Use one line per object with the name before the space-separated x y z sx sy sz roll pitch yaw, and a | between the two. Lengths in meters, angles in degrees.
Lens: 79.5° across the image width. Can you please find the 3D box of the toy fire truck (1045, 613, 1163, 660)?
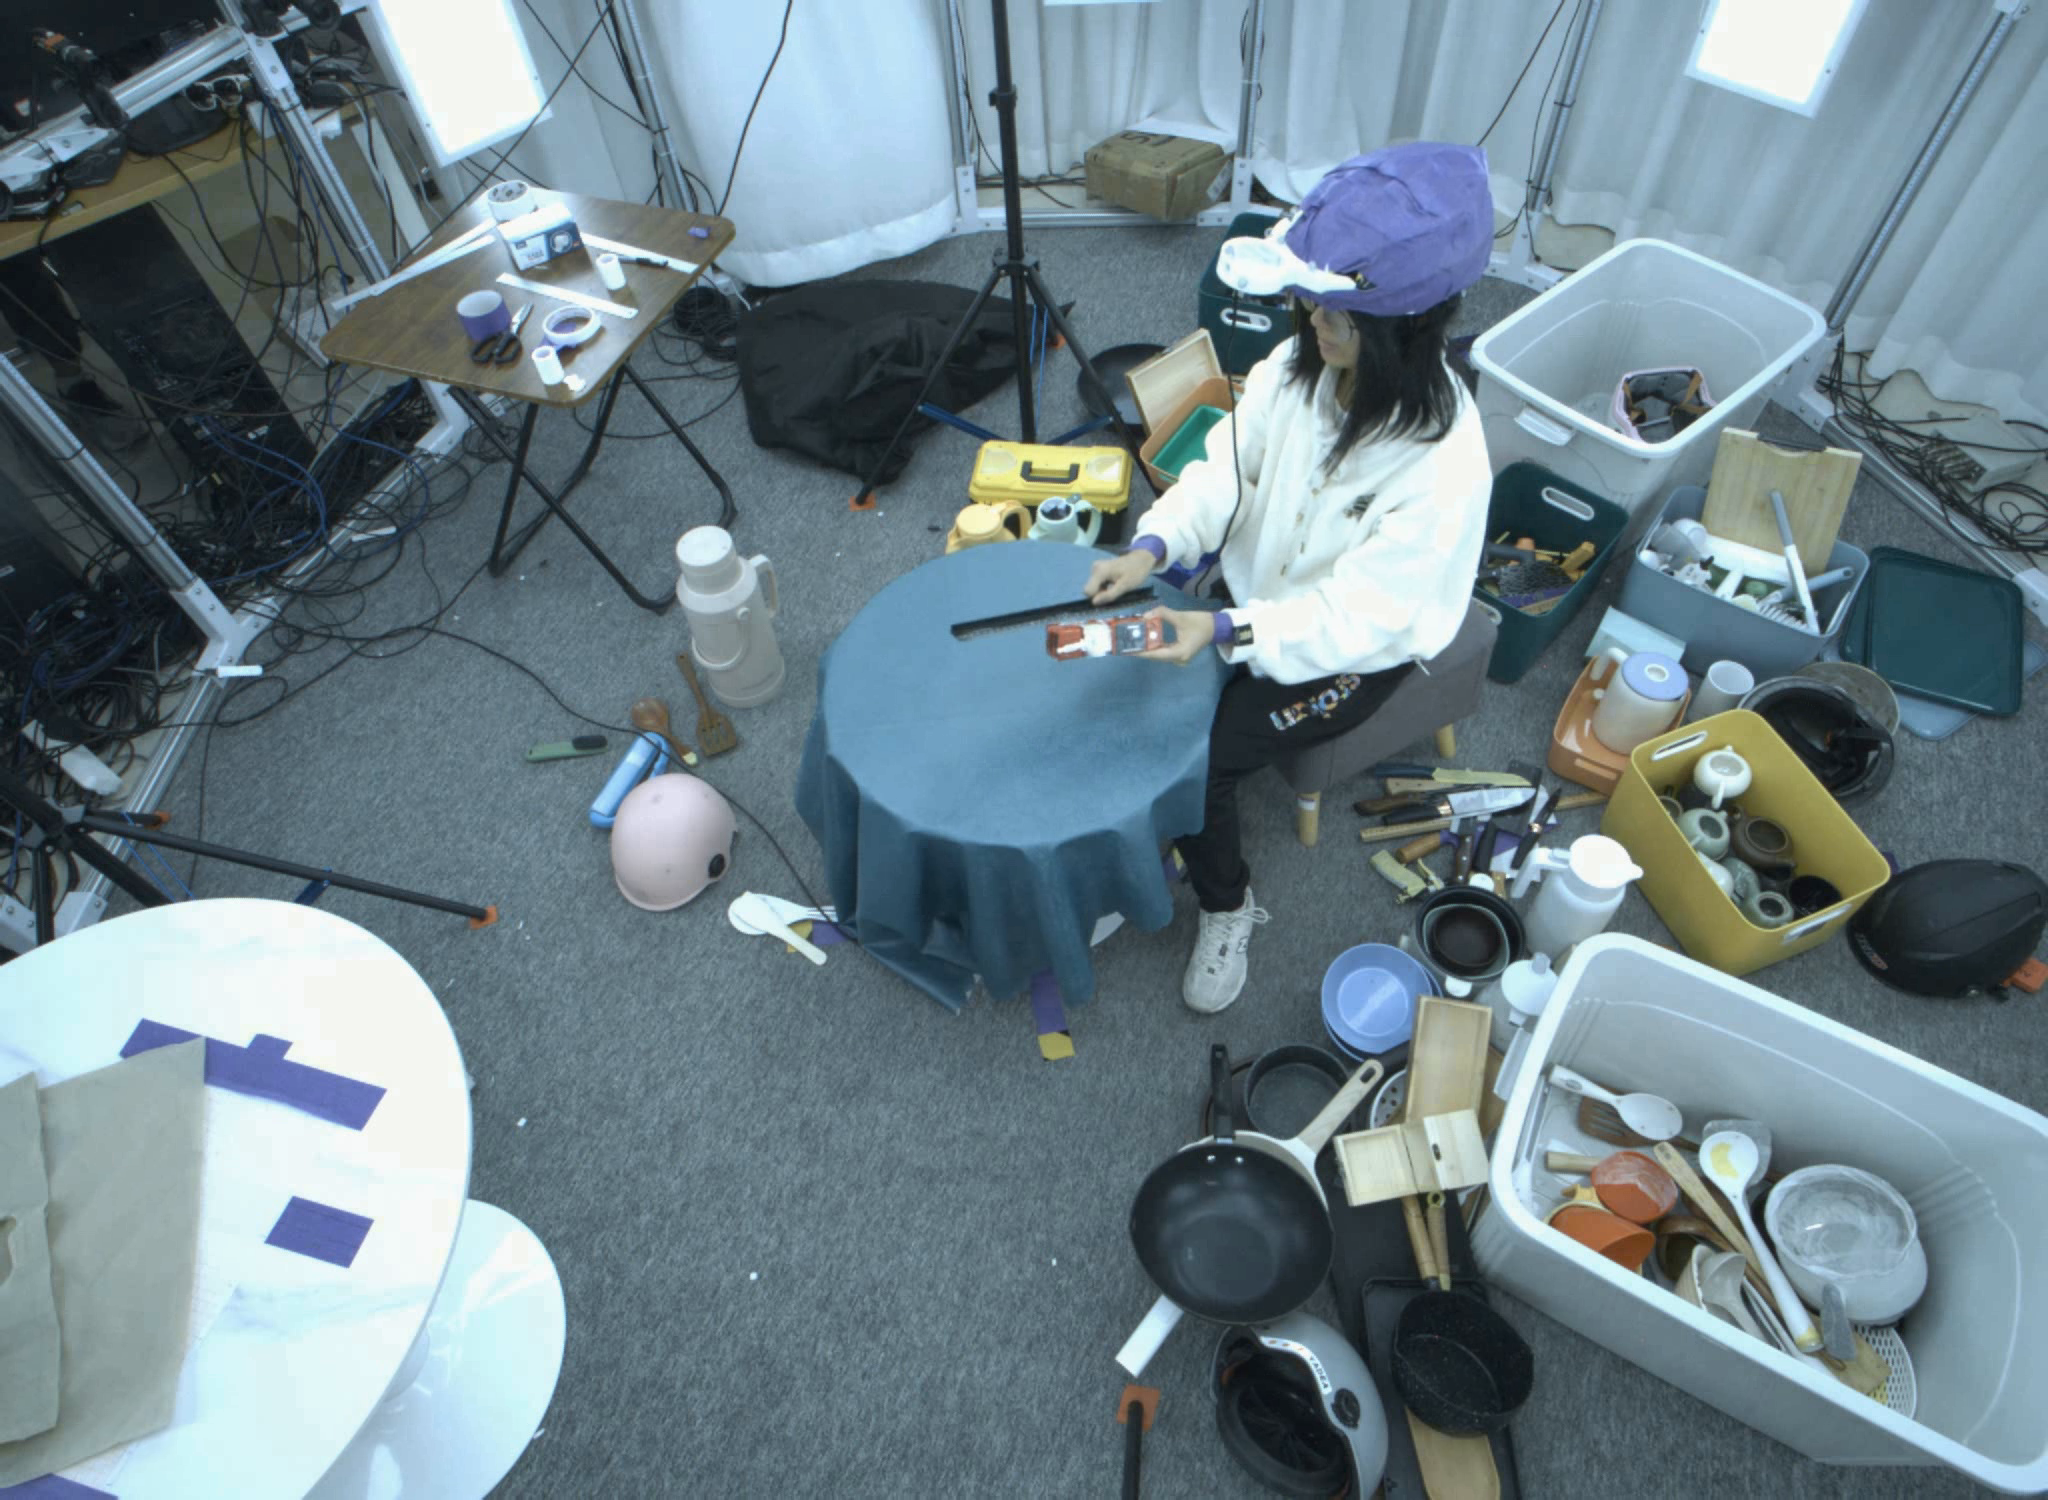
toy fire truck | 0.112 -0.157 1.710 0.170 0.054 0.069 -9 19 -20

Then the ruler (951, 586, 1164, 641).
ruler | 0.049 -0.193 1.726 0.316 0.017 0.038 -13 31 -19
